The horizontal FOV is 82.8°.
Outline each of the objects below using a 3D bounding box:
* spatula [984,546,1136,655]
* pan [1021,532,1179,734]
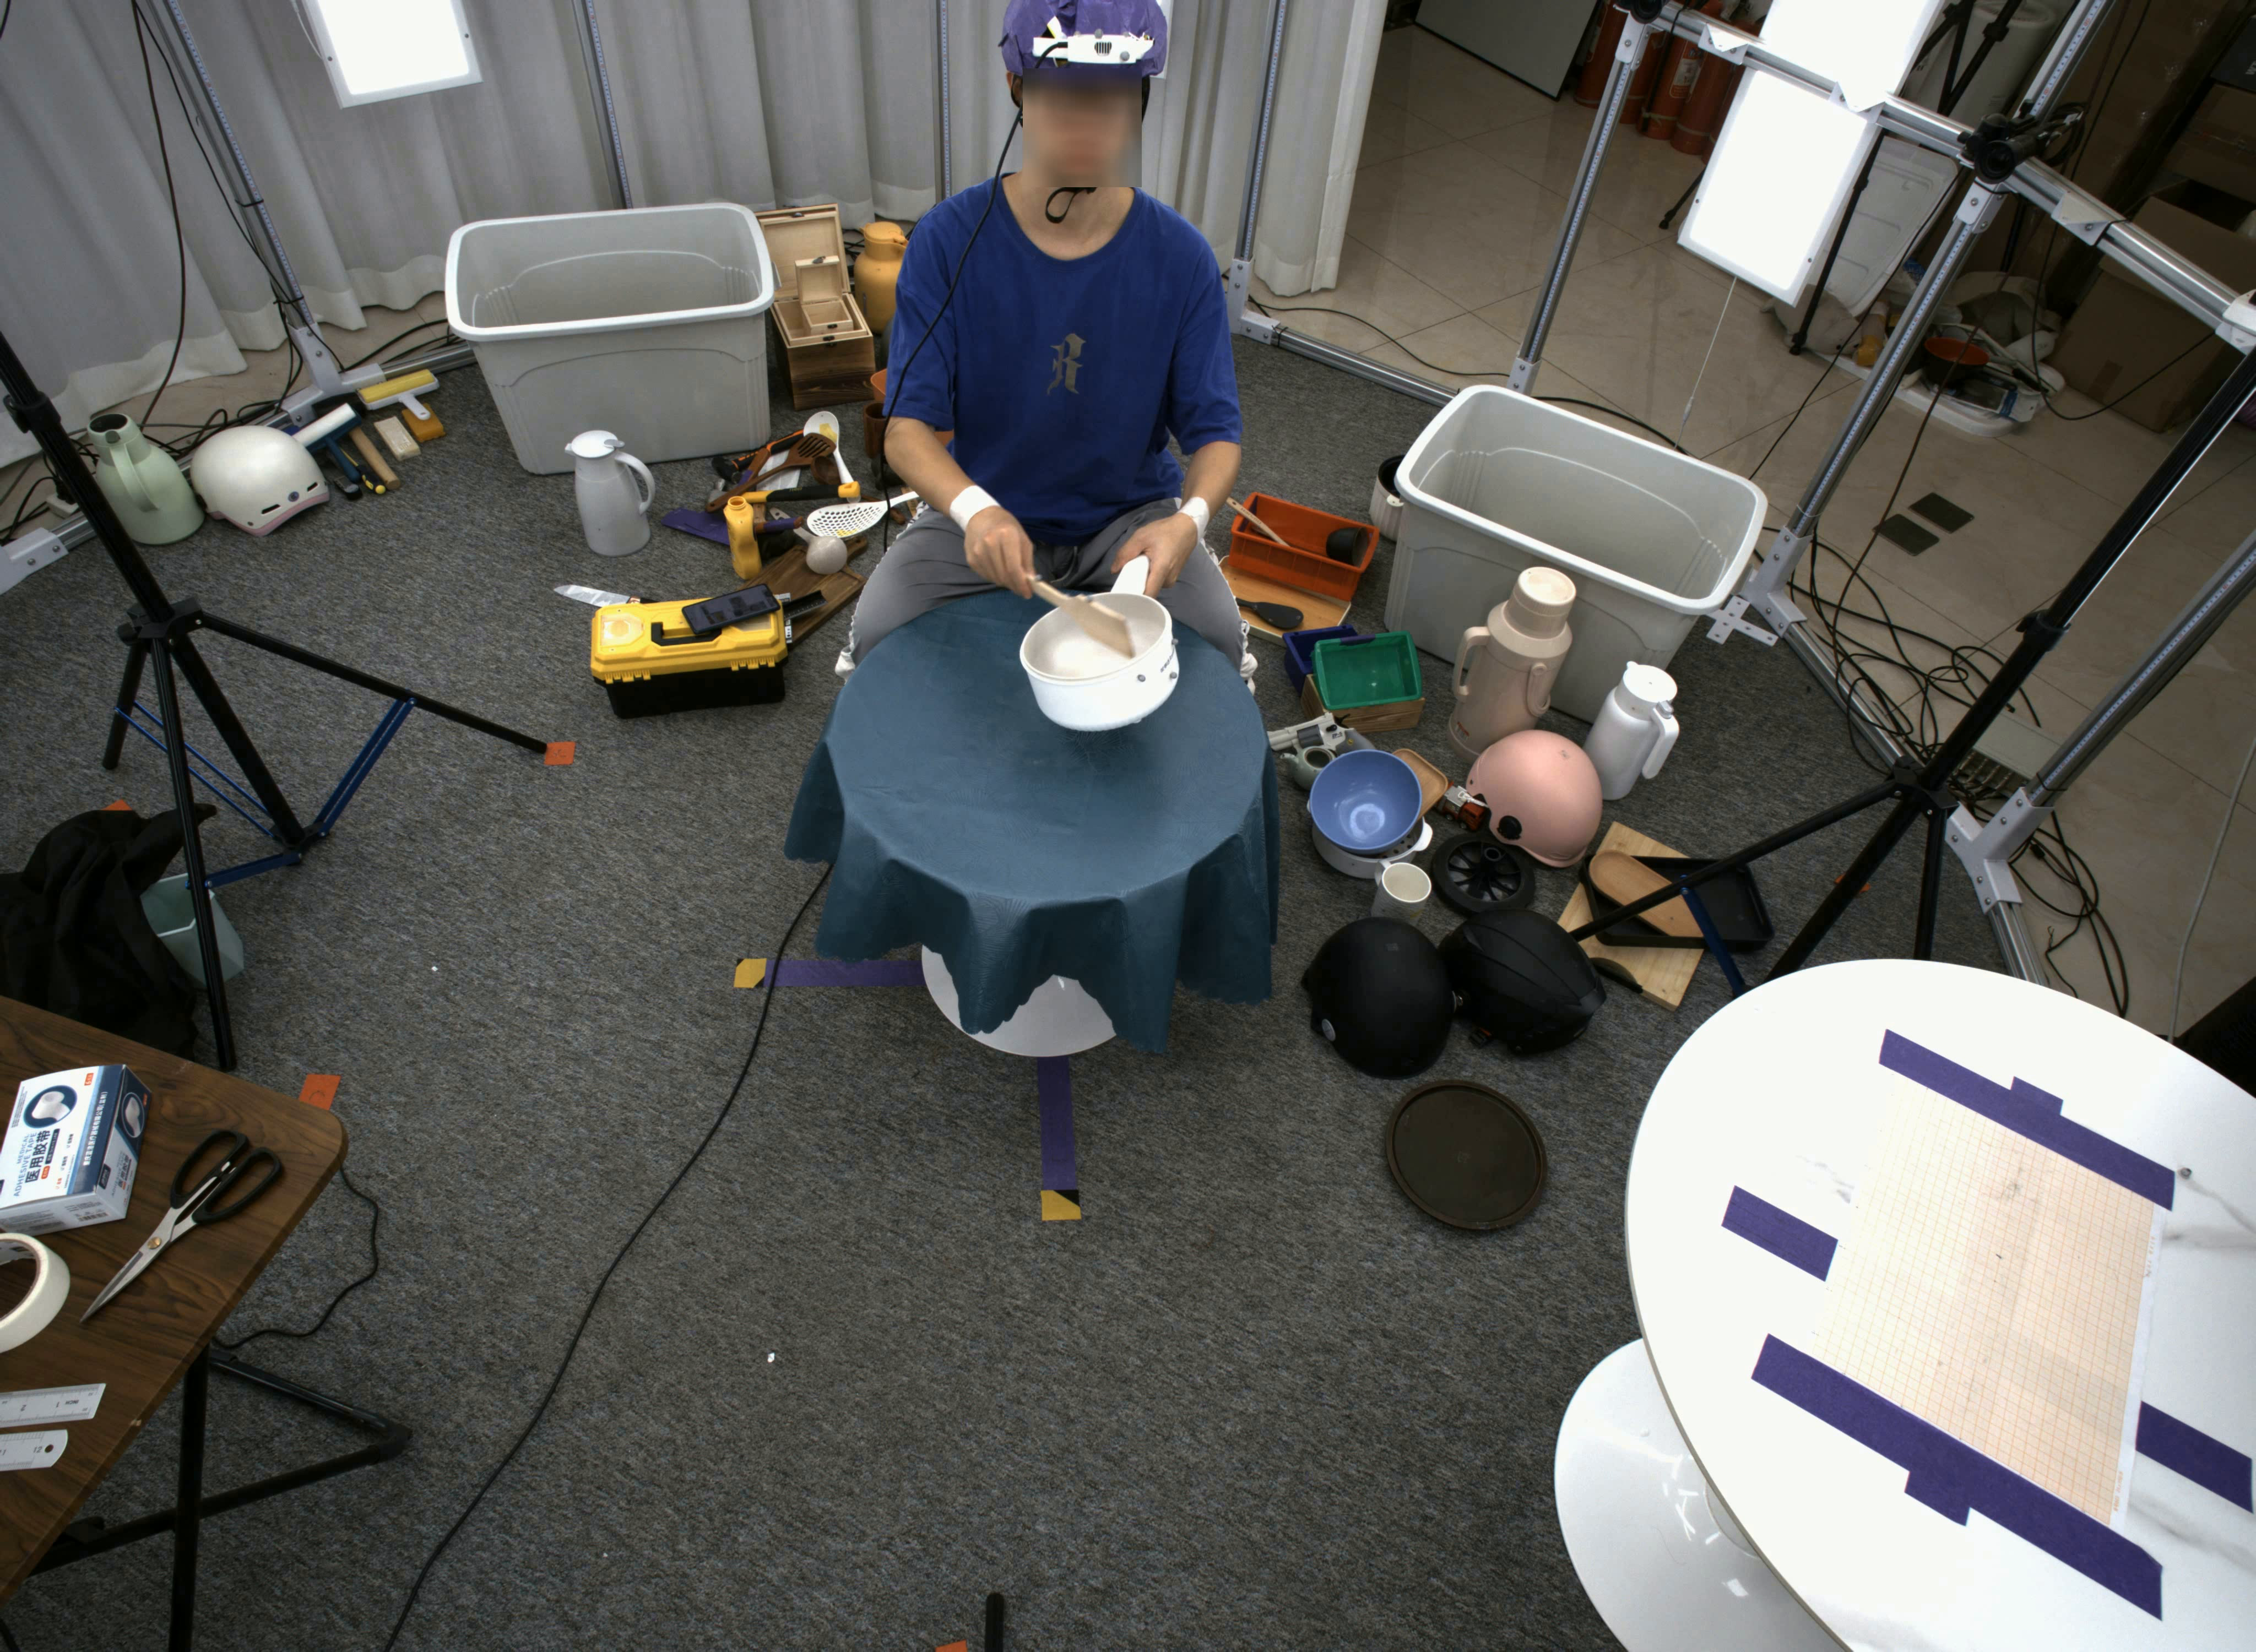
[{"bbox_3d":[-0.097,-0.306,1.686,0.011,0.070,0.298,-43,53,-16],"label":"spatula"},{"bbox_3d":[-0.009,-0.263,1.744,0.202,0.099,0.362,0,43,23],"label":"pan"}]
